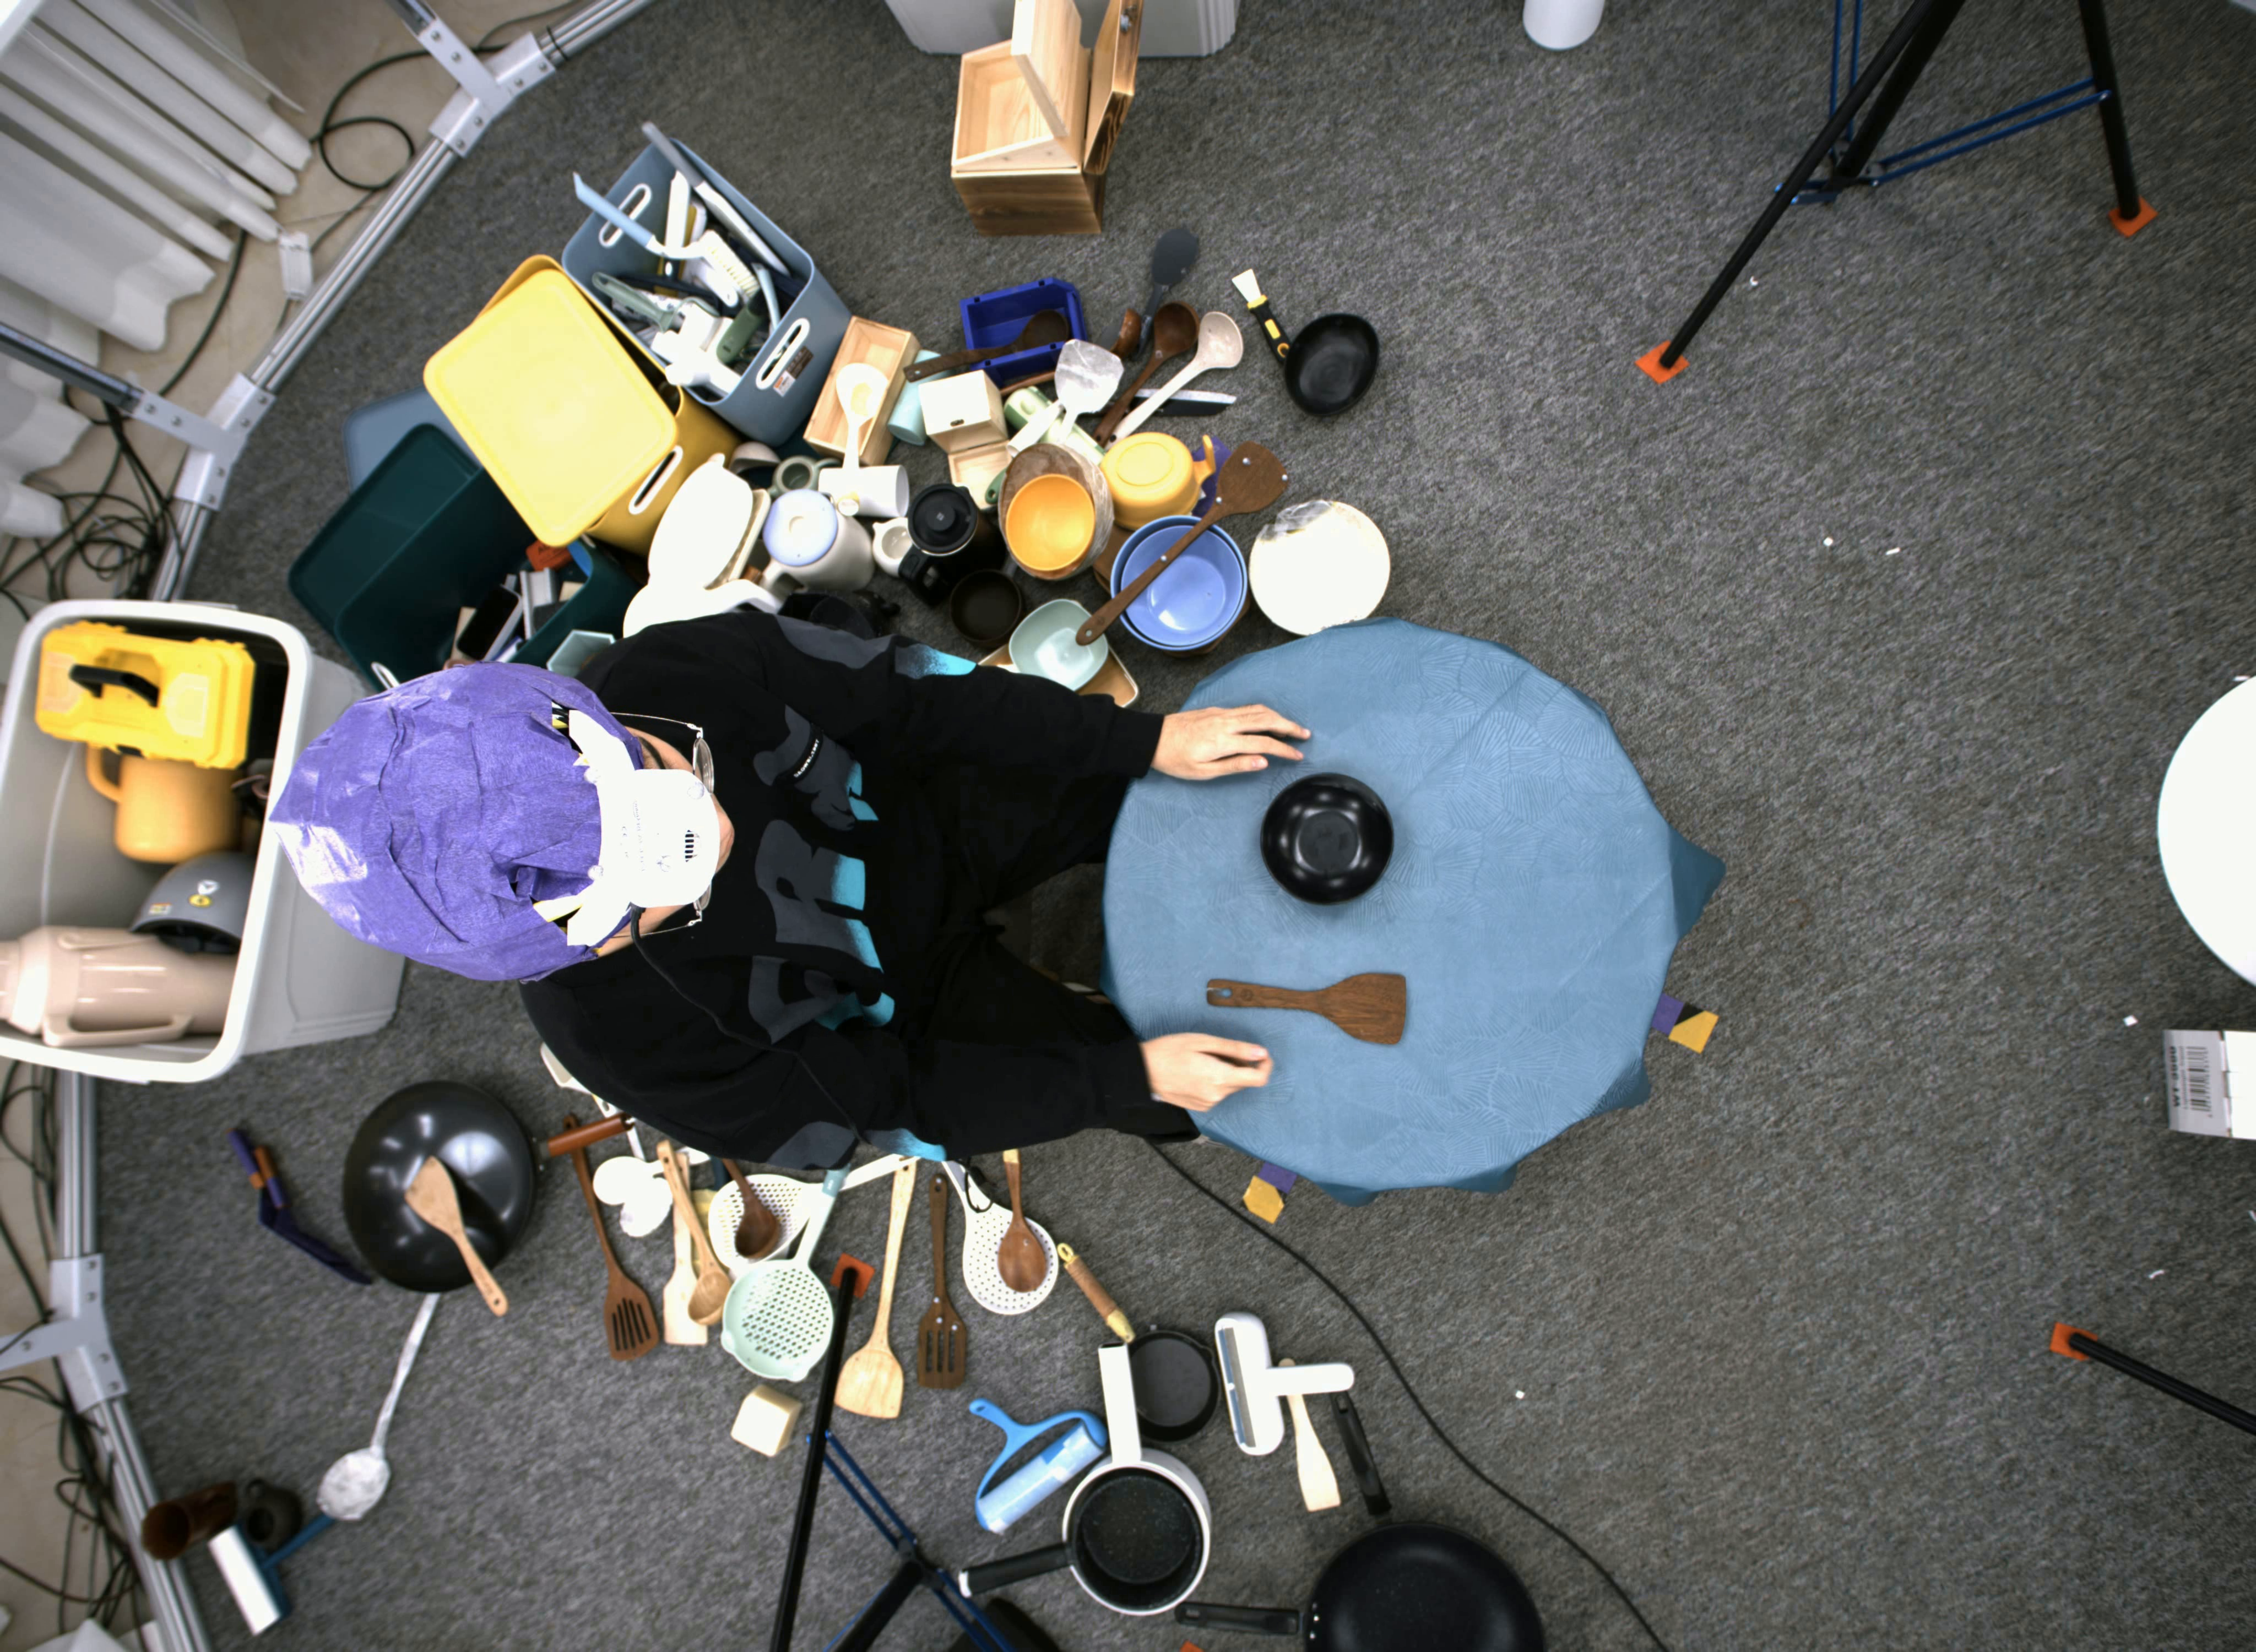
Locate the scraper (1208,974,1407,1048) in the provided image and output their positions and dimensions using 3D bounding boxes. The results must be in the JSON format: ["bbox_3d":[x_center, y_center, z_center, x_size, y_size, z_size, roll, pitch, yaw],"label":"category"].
[{"bbox_3d":[0.189,0.186,1.468,0.212,0.011,0.075,4,86,11],"label":"scraper"}]

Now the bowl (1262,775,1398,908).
[{"bbox_3d":[0.212,0.017,1.454,0.140,0.050,0.139,0,88,9],"label":"bowl"}]
